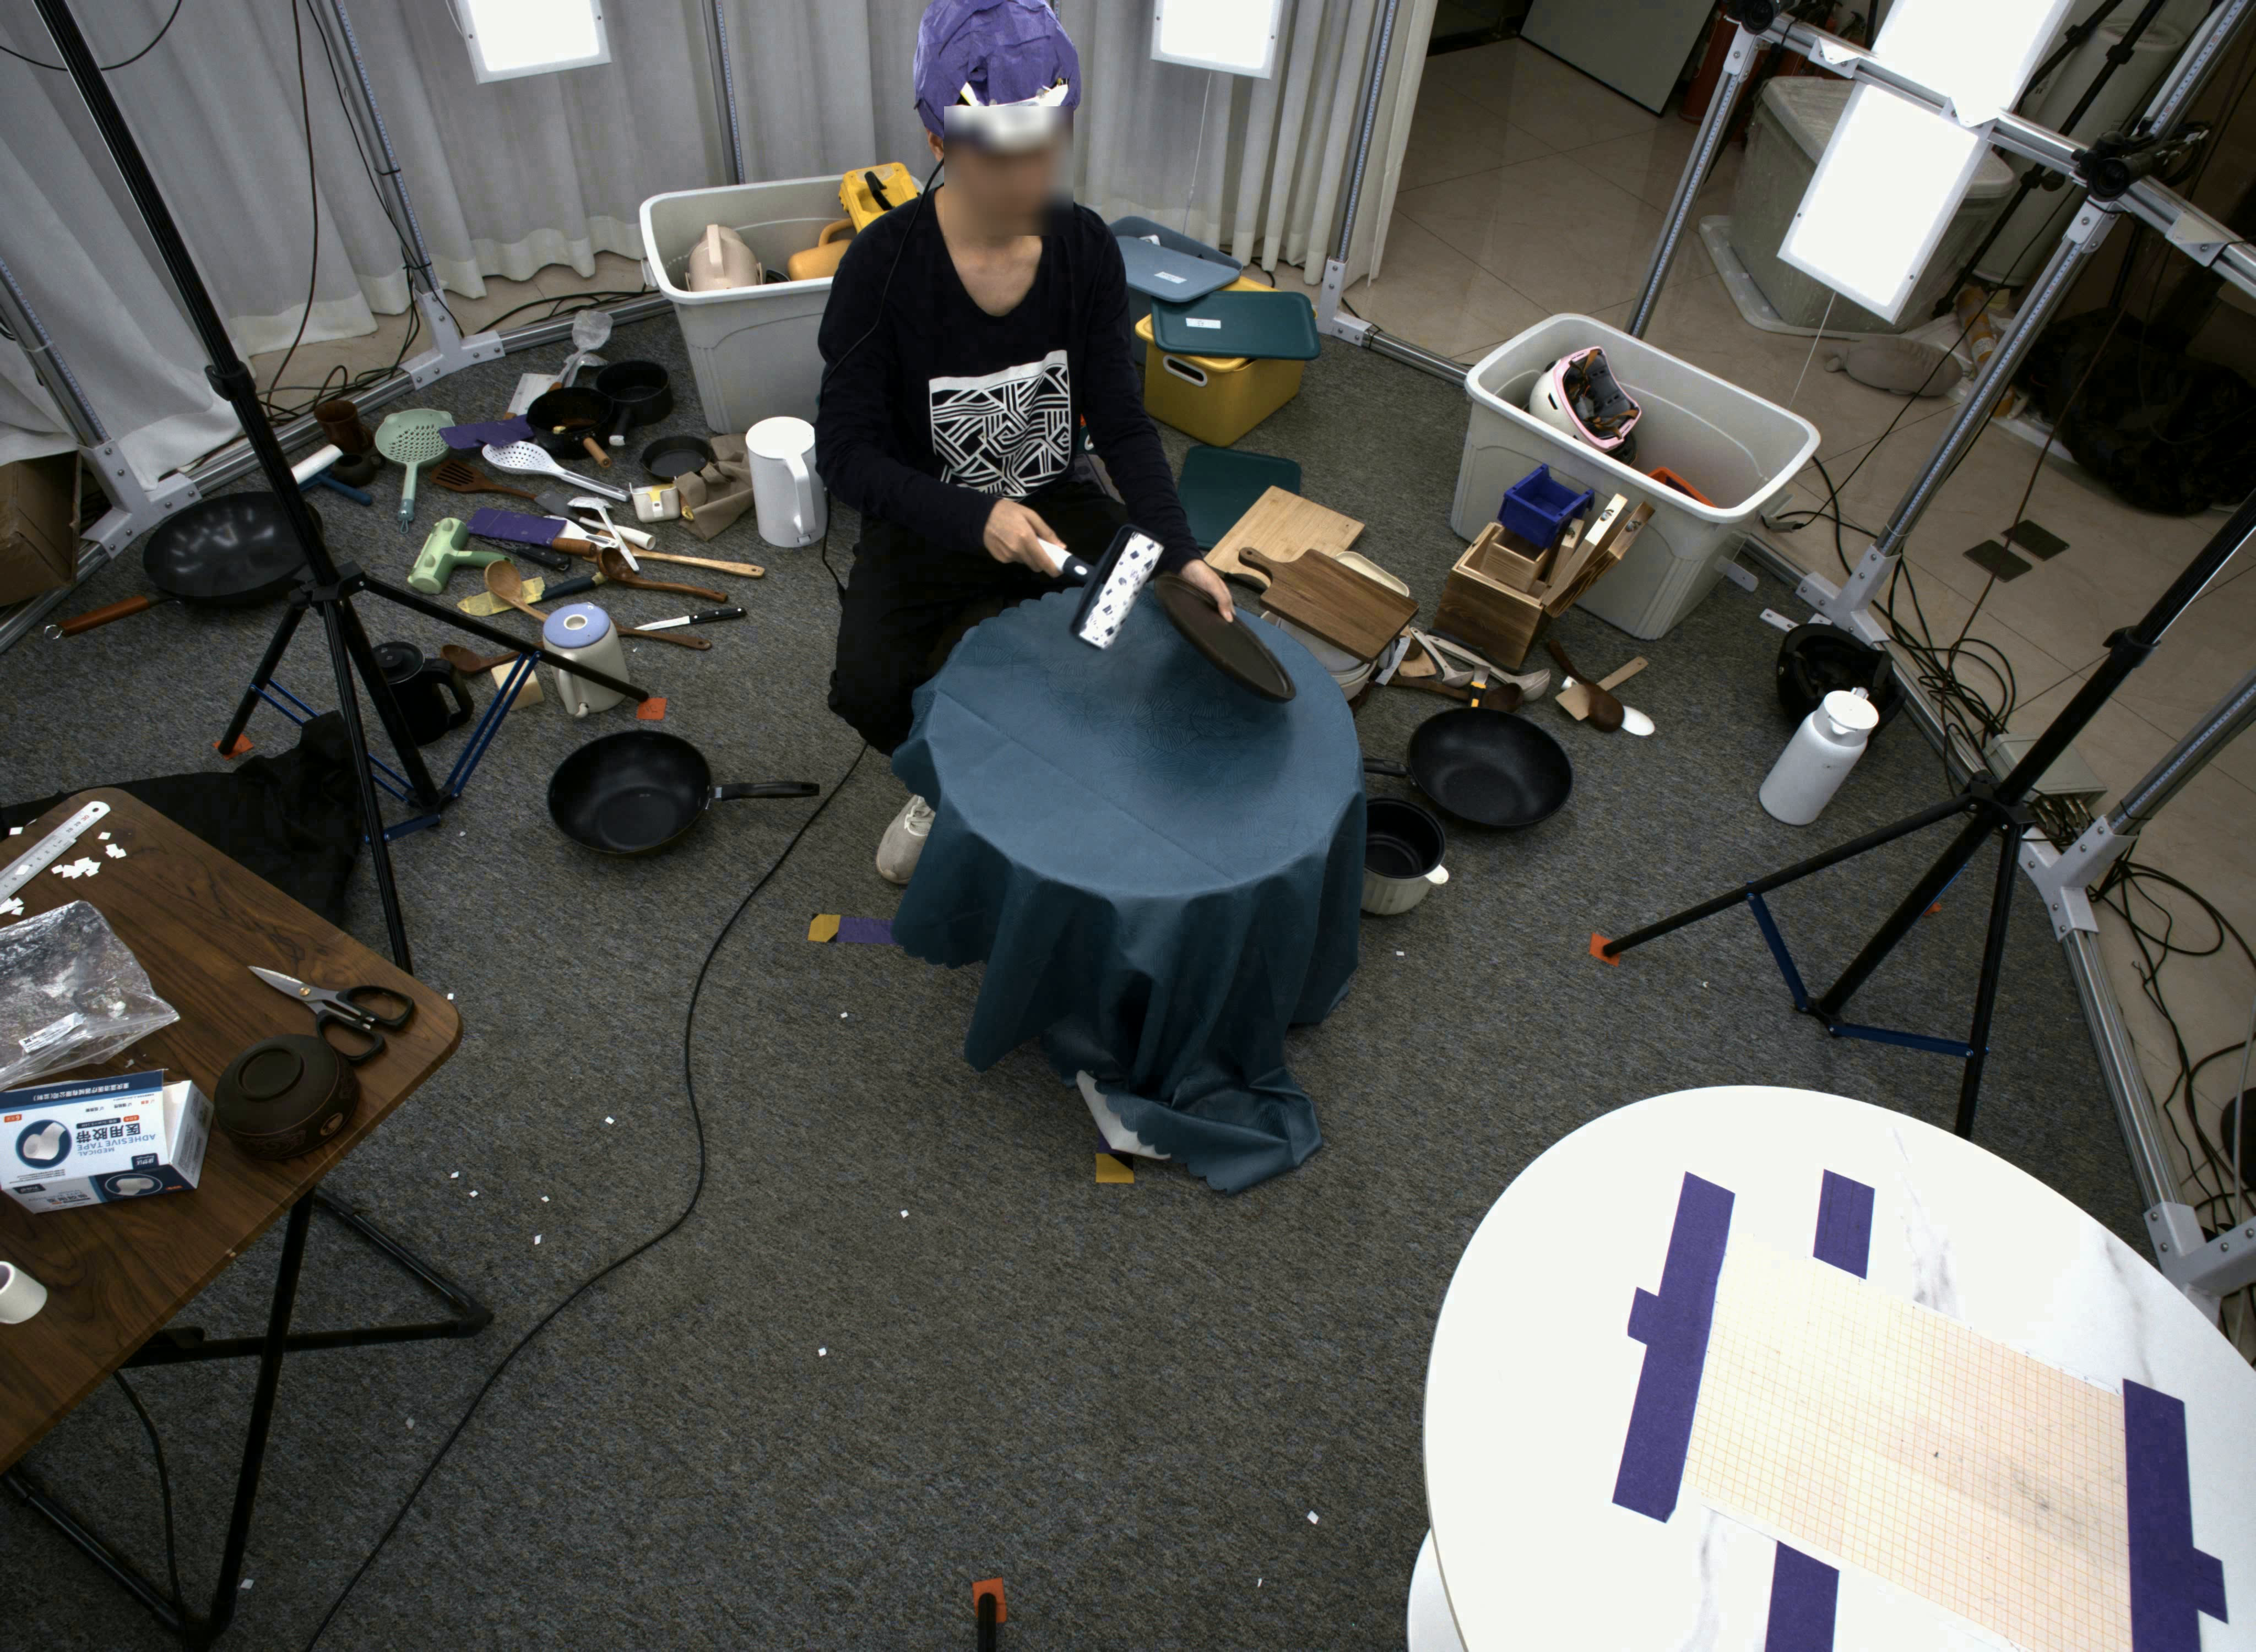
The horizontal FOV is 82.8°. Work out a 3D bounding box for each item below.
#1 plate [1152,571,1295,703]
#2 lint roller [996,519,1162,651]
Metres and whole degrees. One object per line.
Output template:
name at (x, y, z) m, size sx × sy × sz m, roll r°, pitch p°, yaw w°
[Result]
plate at (0.130, -0.259, 1.769) m, size 0.252 × 0.029 × 0.259 m, roll 37°, pitch 20°, yaw -16°
lint roller at (-0.090, -0.373, 1.807) m, size 0.249 × 0.050 × 0.175 m, roll 30°, pitch 97°, yaw 21°
